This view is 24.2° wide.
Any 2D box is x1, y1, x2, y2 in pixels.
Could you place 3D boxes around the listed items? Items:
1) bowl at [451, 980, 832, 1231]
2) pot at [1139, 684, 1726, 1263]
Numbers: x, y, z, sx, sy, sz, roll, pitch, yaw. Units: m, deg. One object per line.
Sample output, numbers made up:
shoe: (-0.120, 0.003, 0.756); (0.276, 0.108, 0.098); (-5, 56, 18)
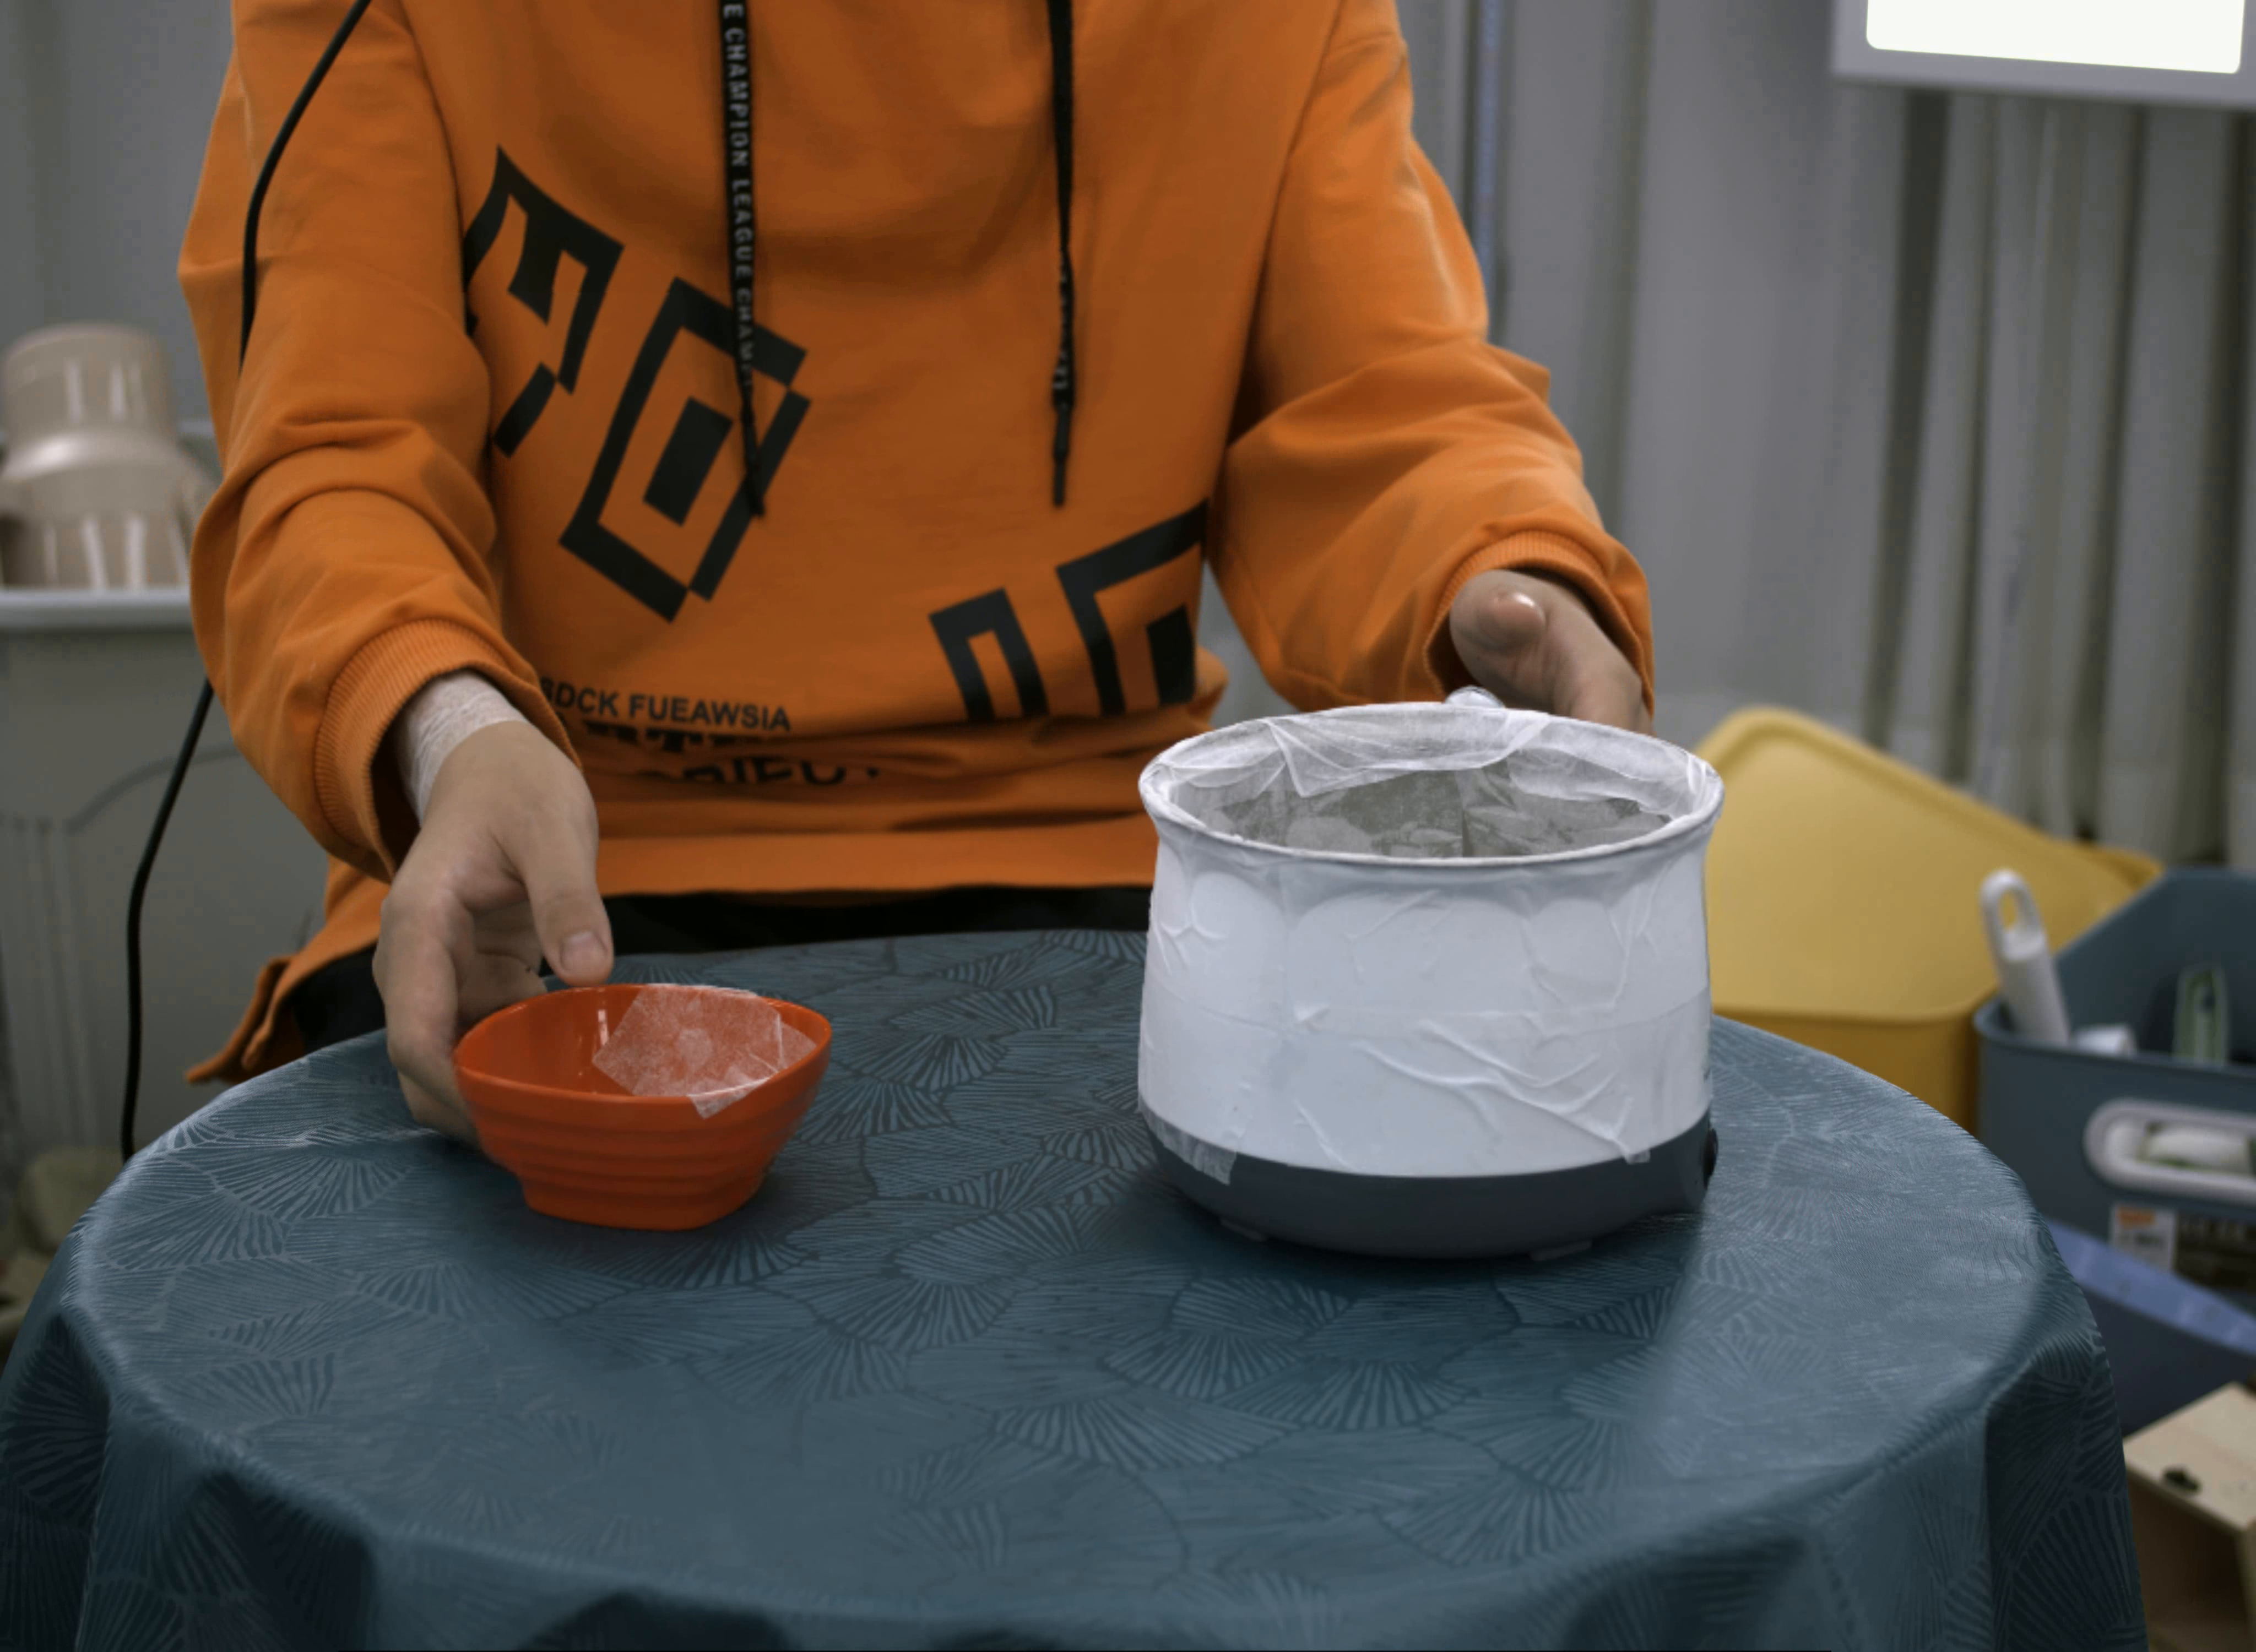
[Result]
bowl: (-0.147, 0.088, 1.611); (0.118, 0.052, 0.118); (0, 16, 1)
pot: (0.096, 0.040, 1.630); (0.177, 0.138, 0.233); (3, 16, 8)
